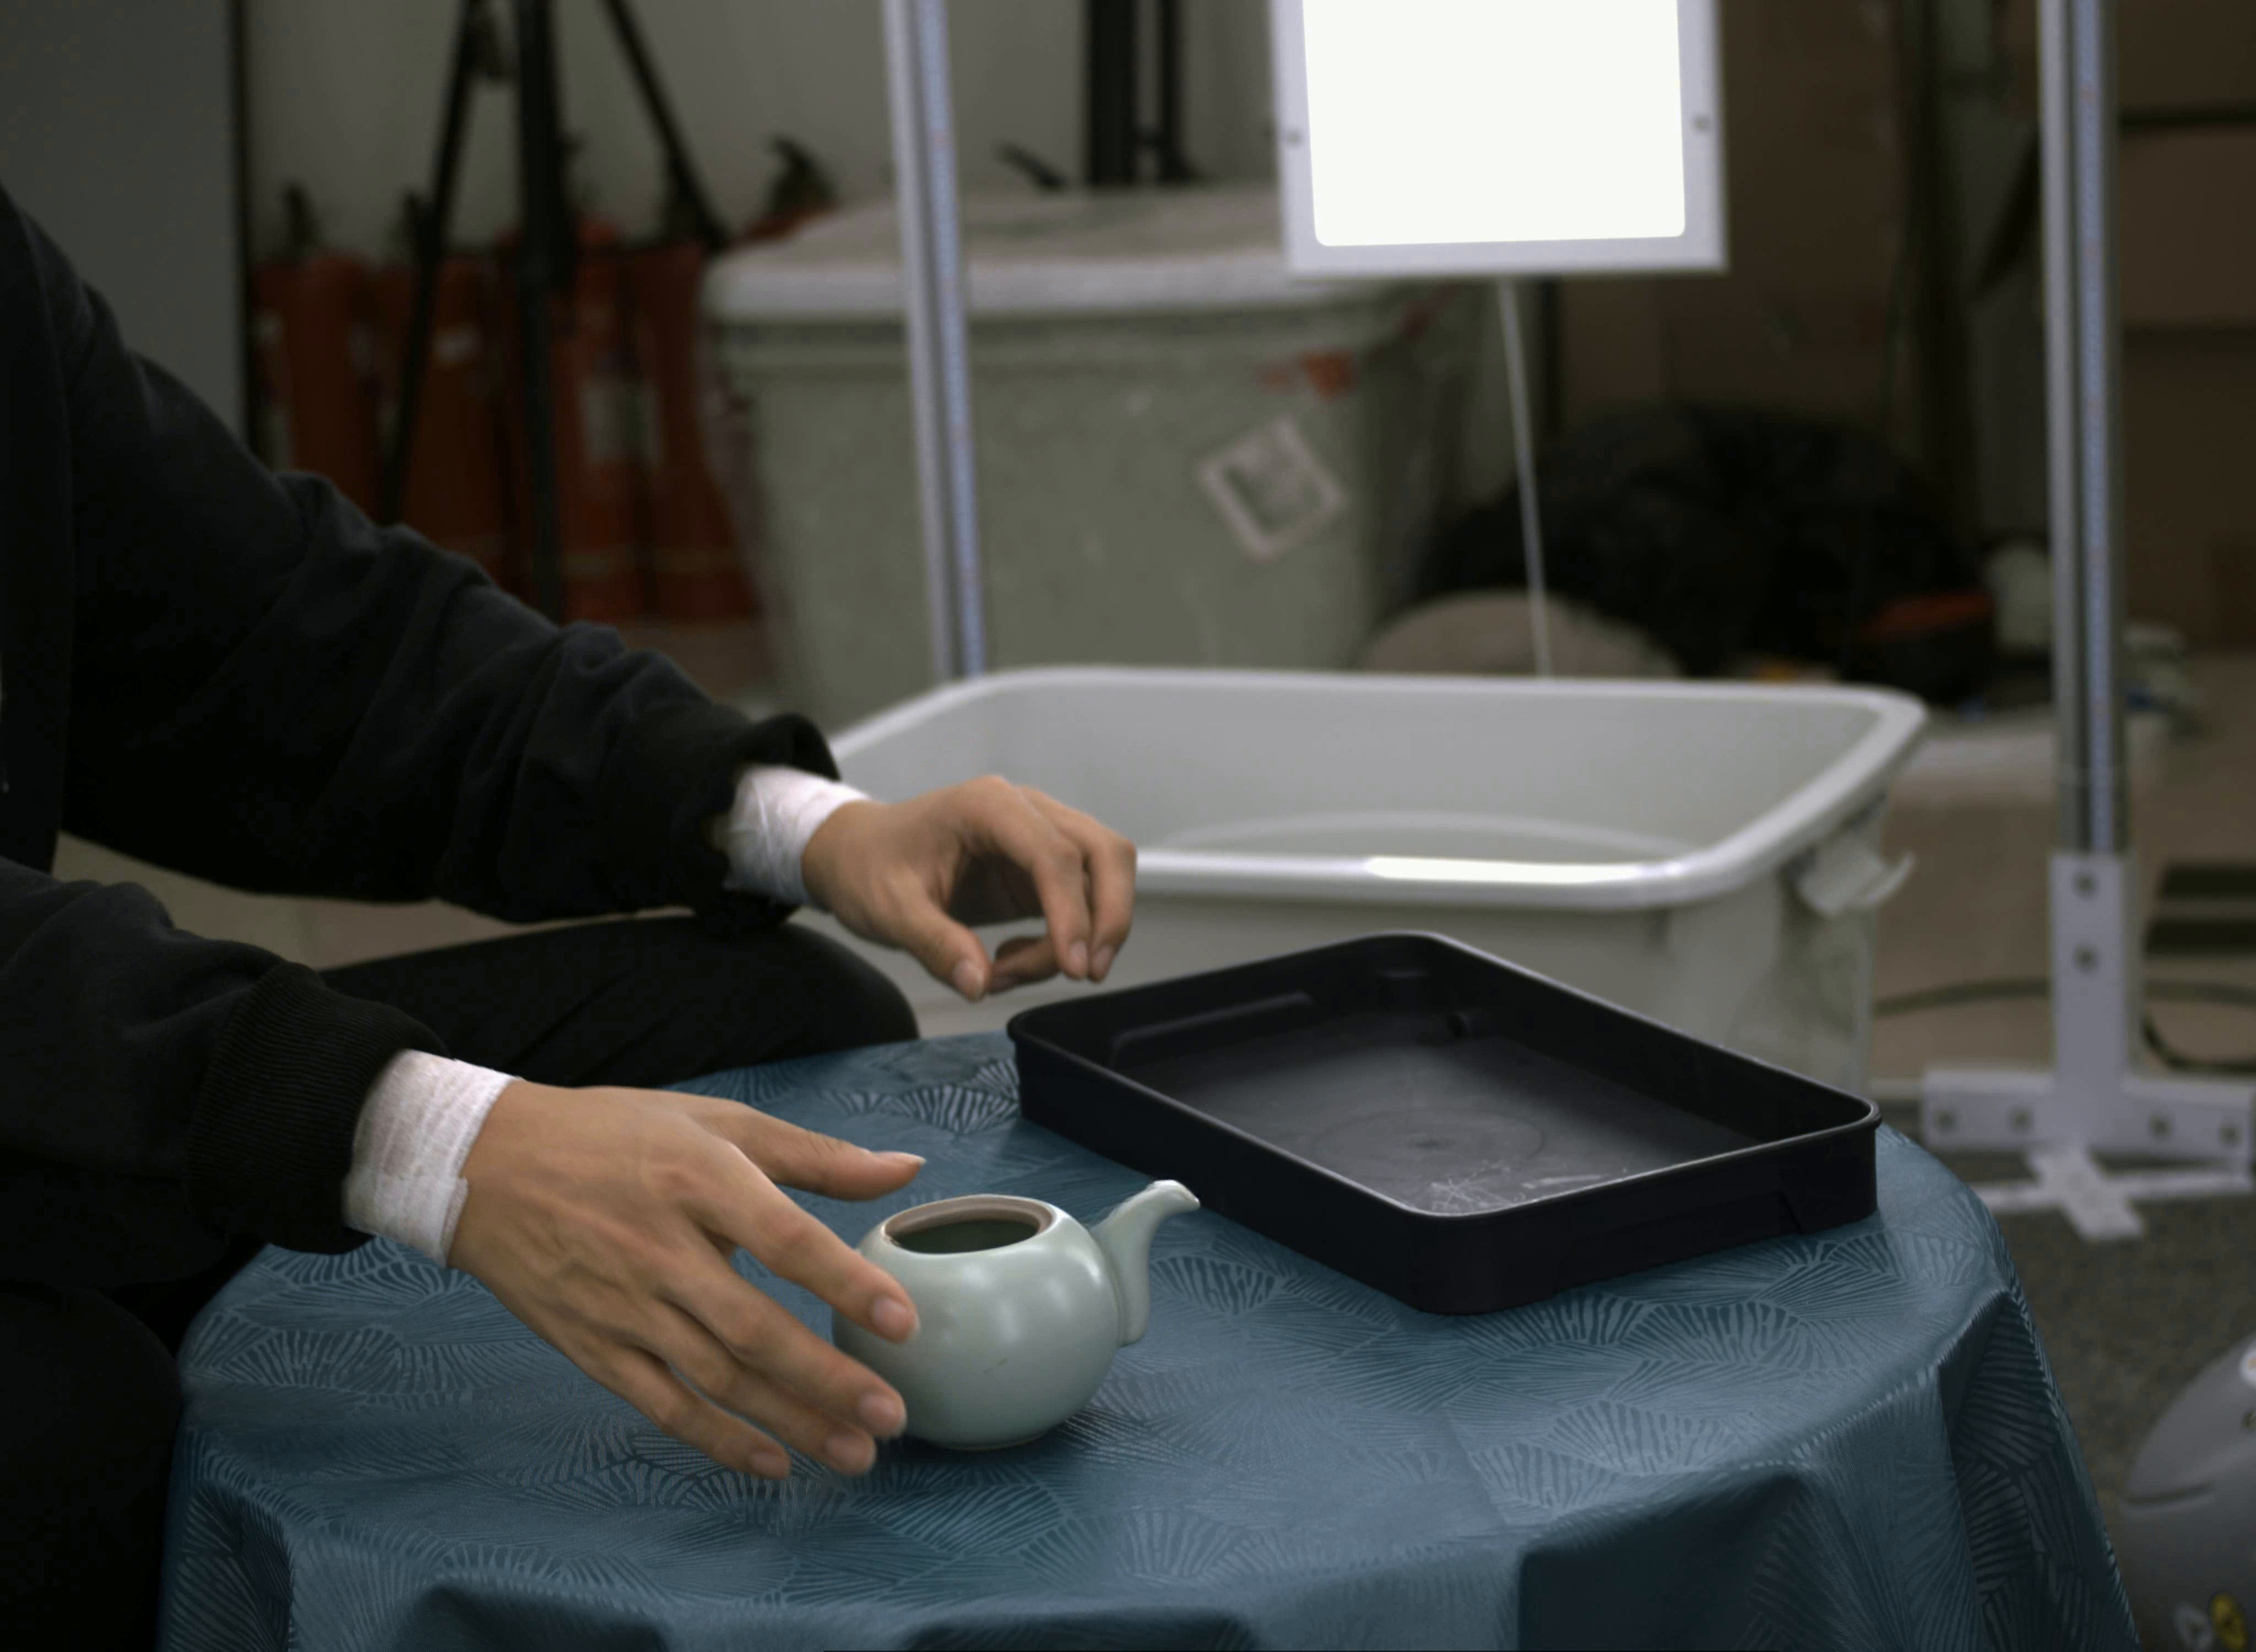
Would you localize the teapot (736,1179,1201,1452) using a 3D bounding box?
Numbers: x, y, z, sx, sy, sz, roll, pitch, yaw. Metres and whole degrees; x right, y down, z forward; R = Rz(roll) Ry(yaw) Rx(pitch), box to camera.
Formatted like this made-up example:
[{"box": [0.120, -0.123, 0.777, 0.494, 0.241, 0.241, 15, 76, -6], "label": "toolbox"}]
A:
[{"box": [-0.047, 0.149, 1.674, 0.143, 0.075, 0.088, -5, 14, -4], "label": "teapot"}]

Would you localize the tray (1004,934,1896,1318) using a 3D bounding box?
[{"box": [0.106, 0.099, 1.899, 0.180, 0.037, 0.323, -12, 15, -27], "label": "tray"}]
